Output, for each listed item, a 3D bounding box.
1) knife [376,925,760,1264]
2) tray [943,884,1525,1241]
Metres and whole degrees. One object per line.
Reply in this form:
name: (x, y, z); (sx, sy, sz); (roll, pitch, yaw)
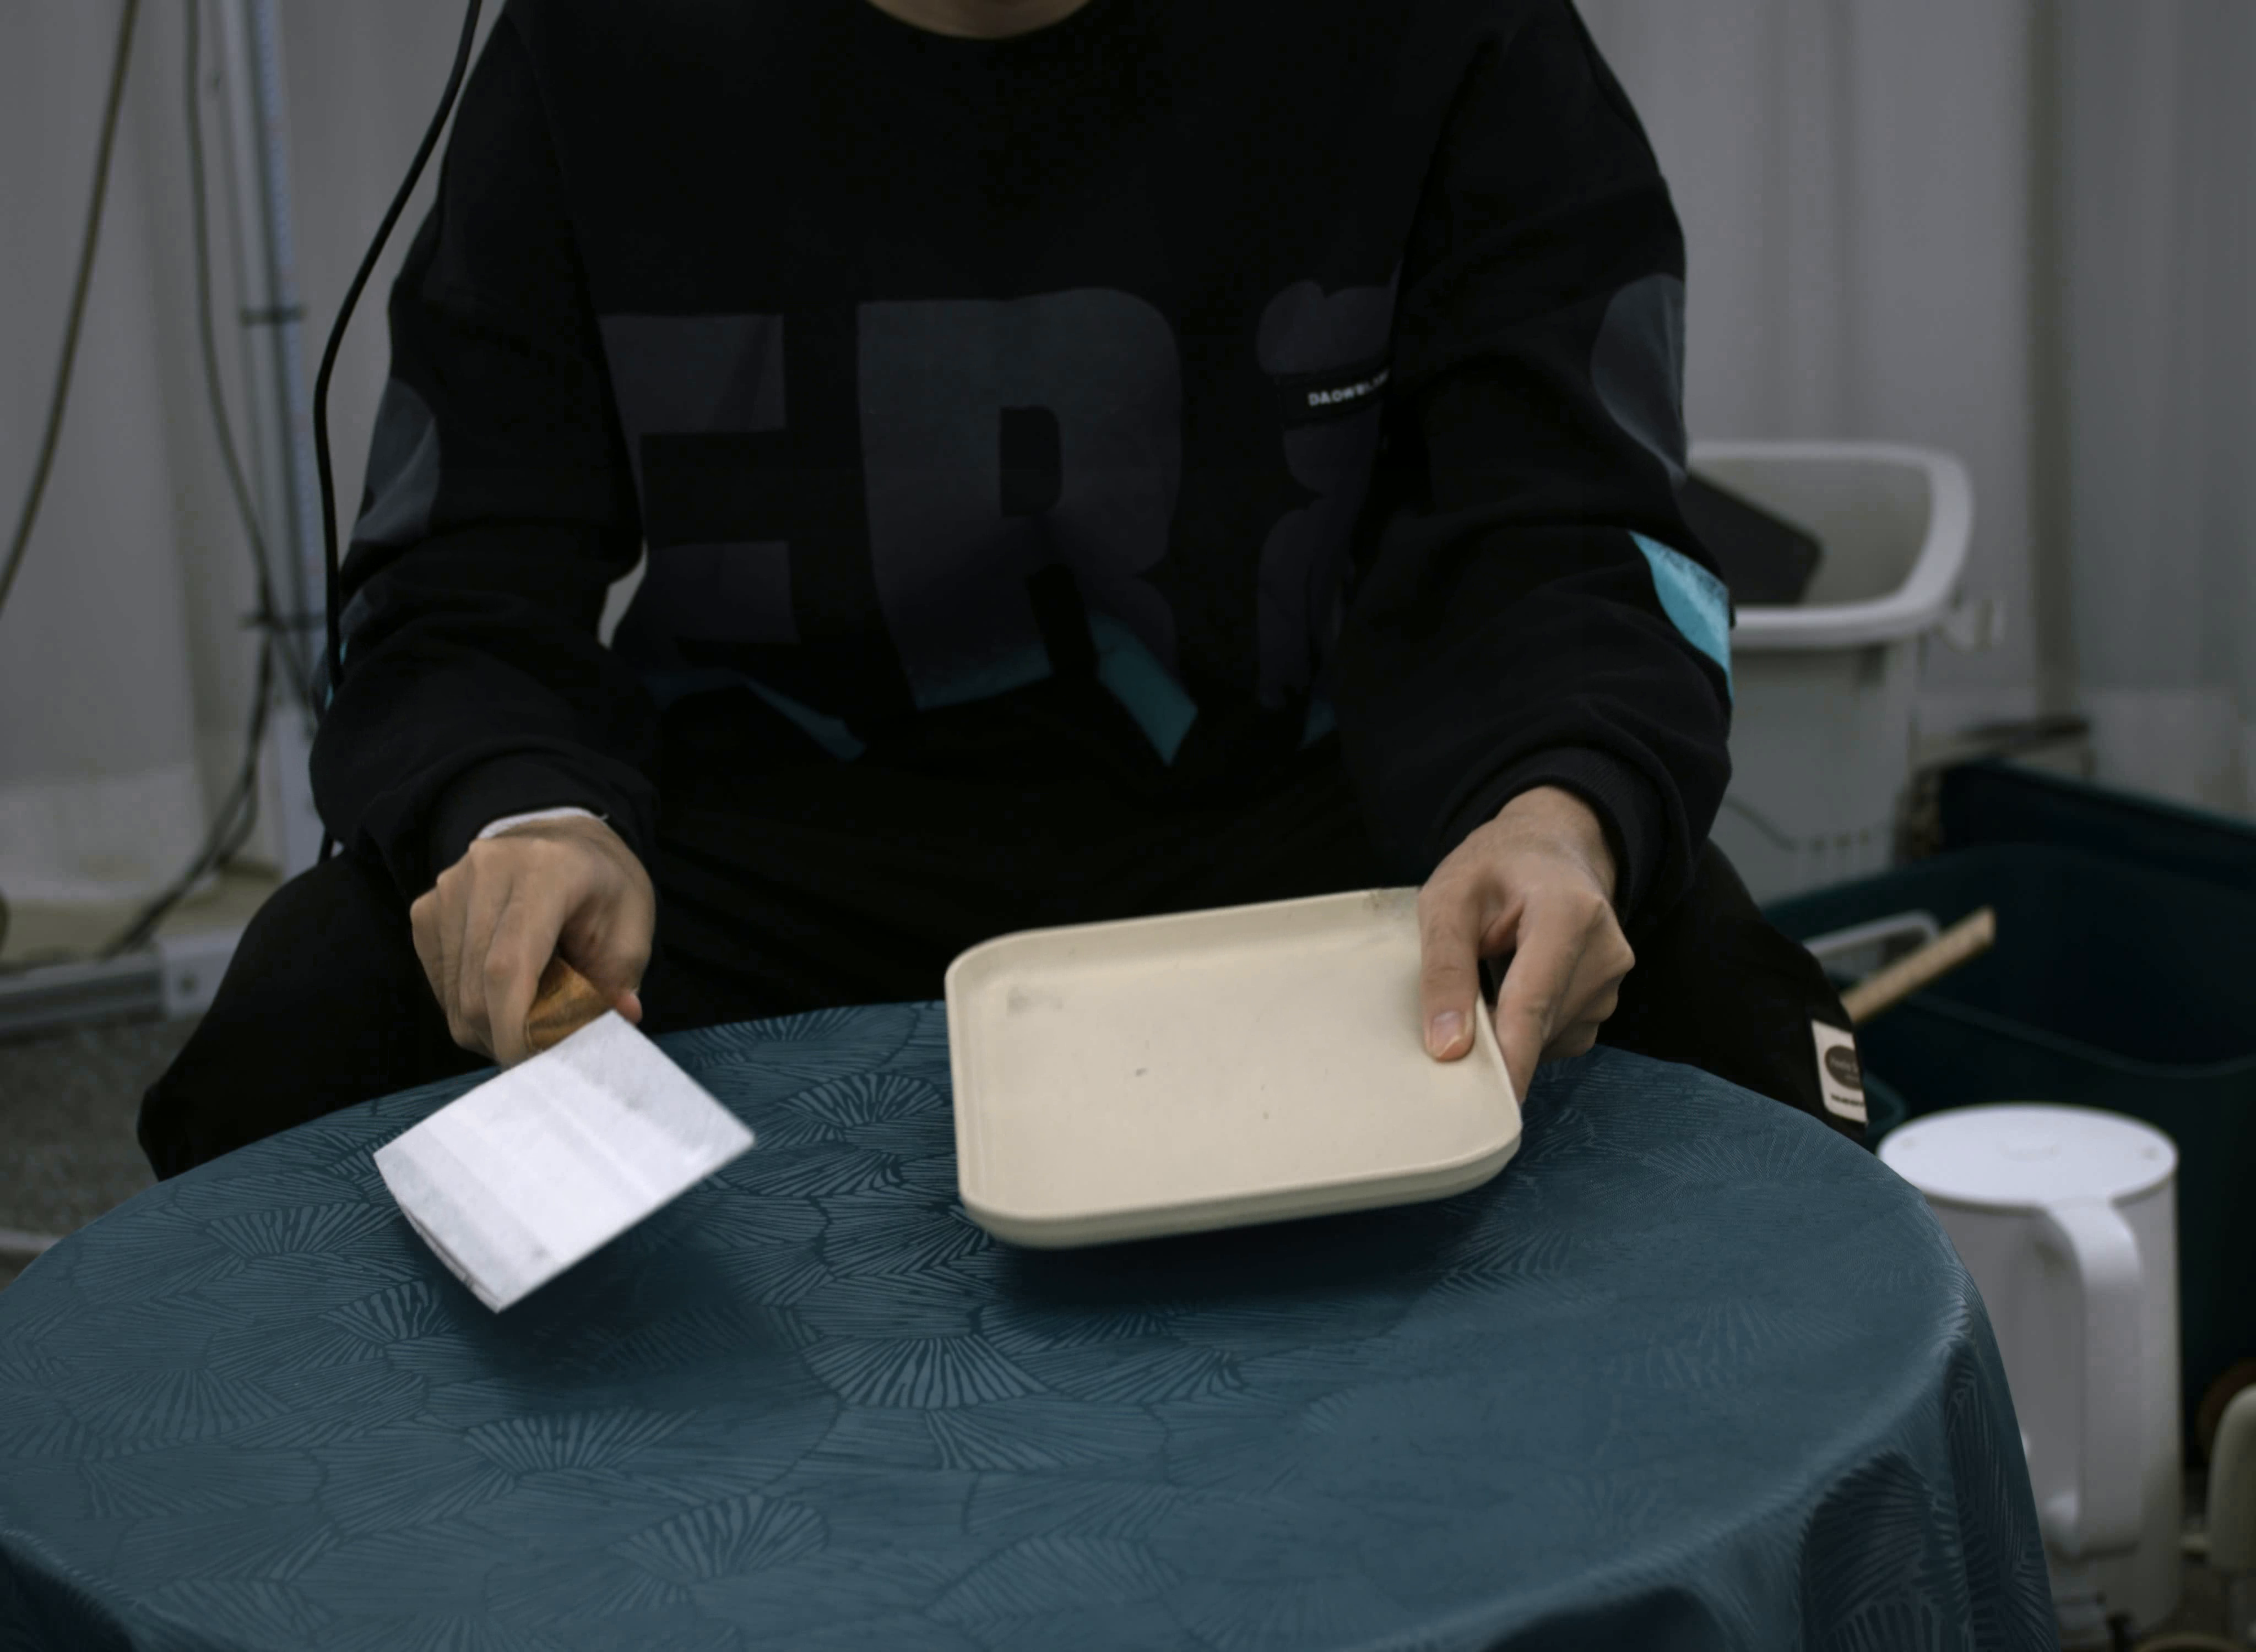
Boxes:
knife: (-0.189, 0.085, 1.707); (0.093, 0.021, 0.308); (-34, 19, -11)
tray: (0.029, 0.073, 1.709); (0.171, 0.017, 0.242); (-7, 19, -1)
